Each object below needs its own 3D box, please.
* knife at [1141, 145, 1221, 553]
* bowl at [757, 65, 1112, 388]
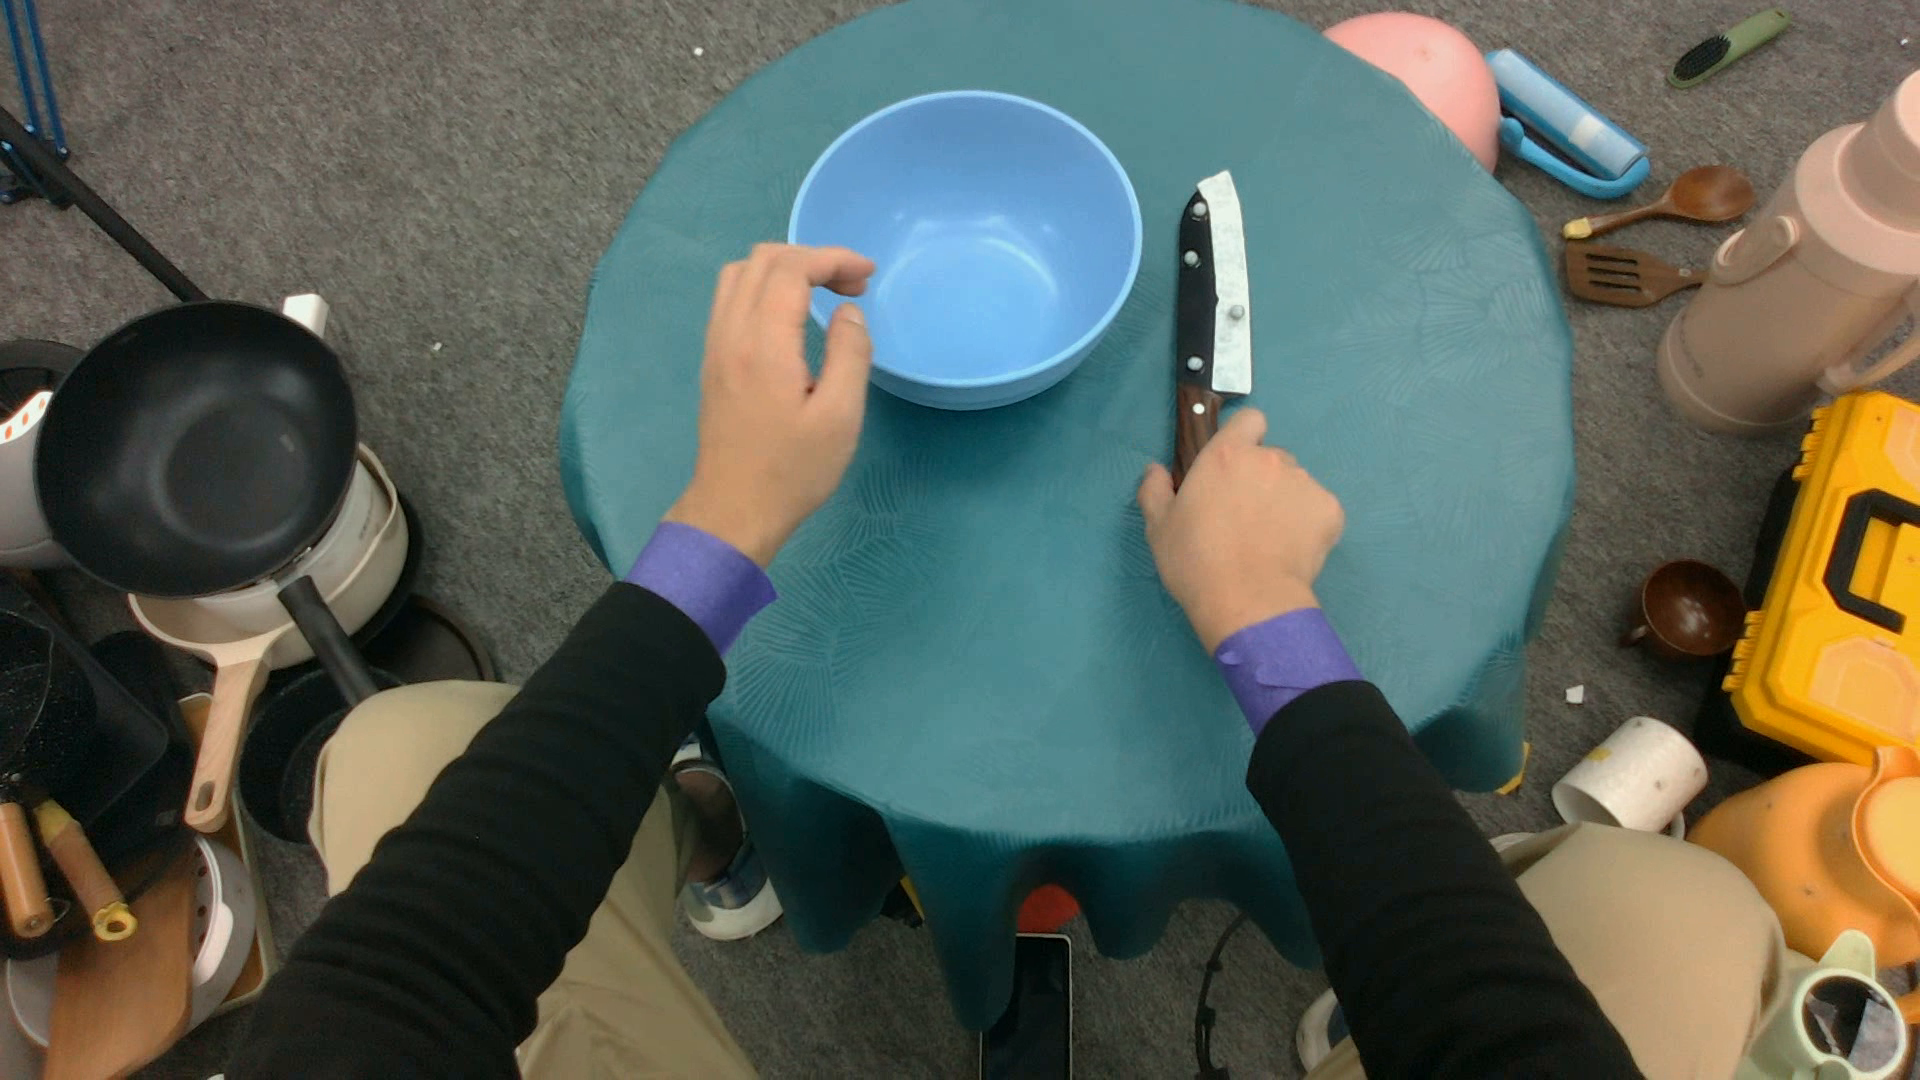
[{"bbox_3d":[0.131,-0.124,0.824,0.050,0.020,0.290,7,65,-1],"label":"knife"},{"bbox_3d":[-0.014,-0.167,0.803,0.196,0.095,0.197,0,69,0],"label":"bowl"}]
